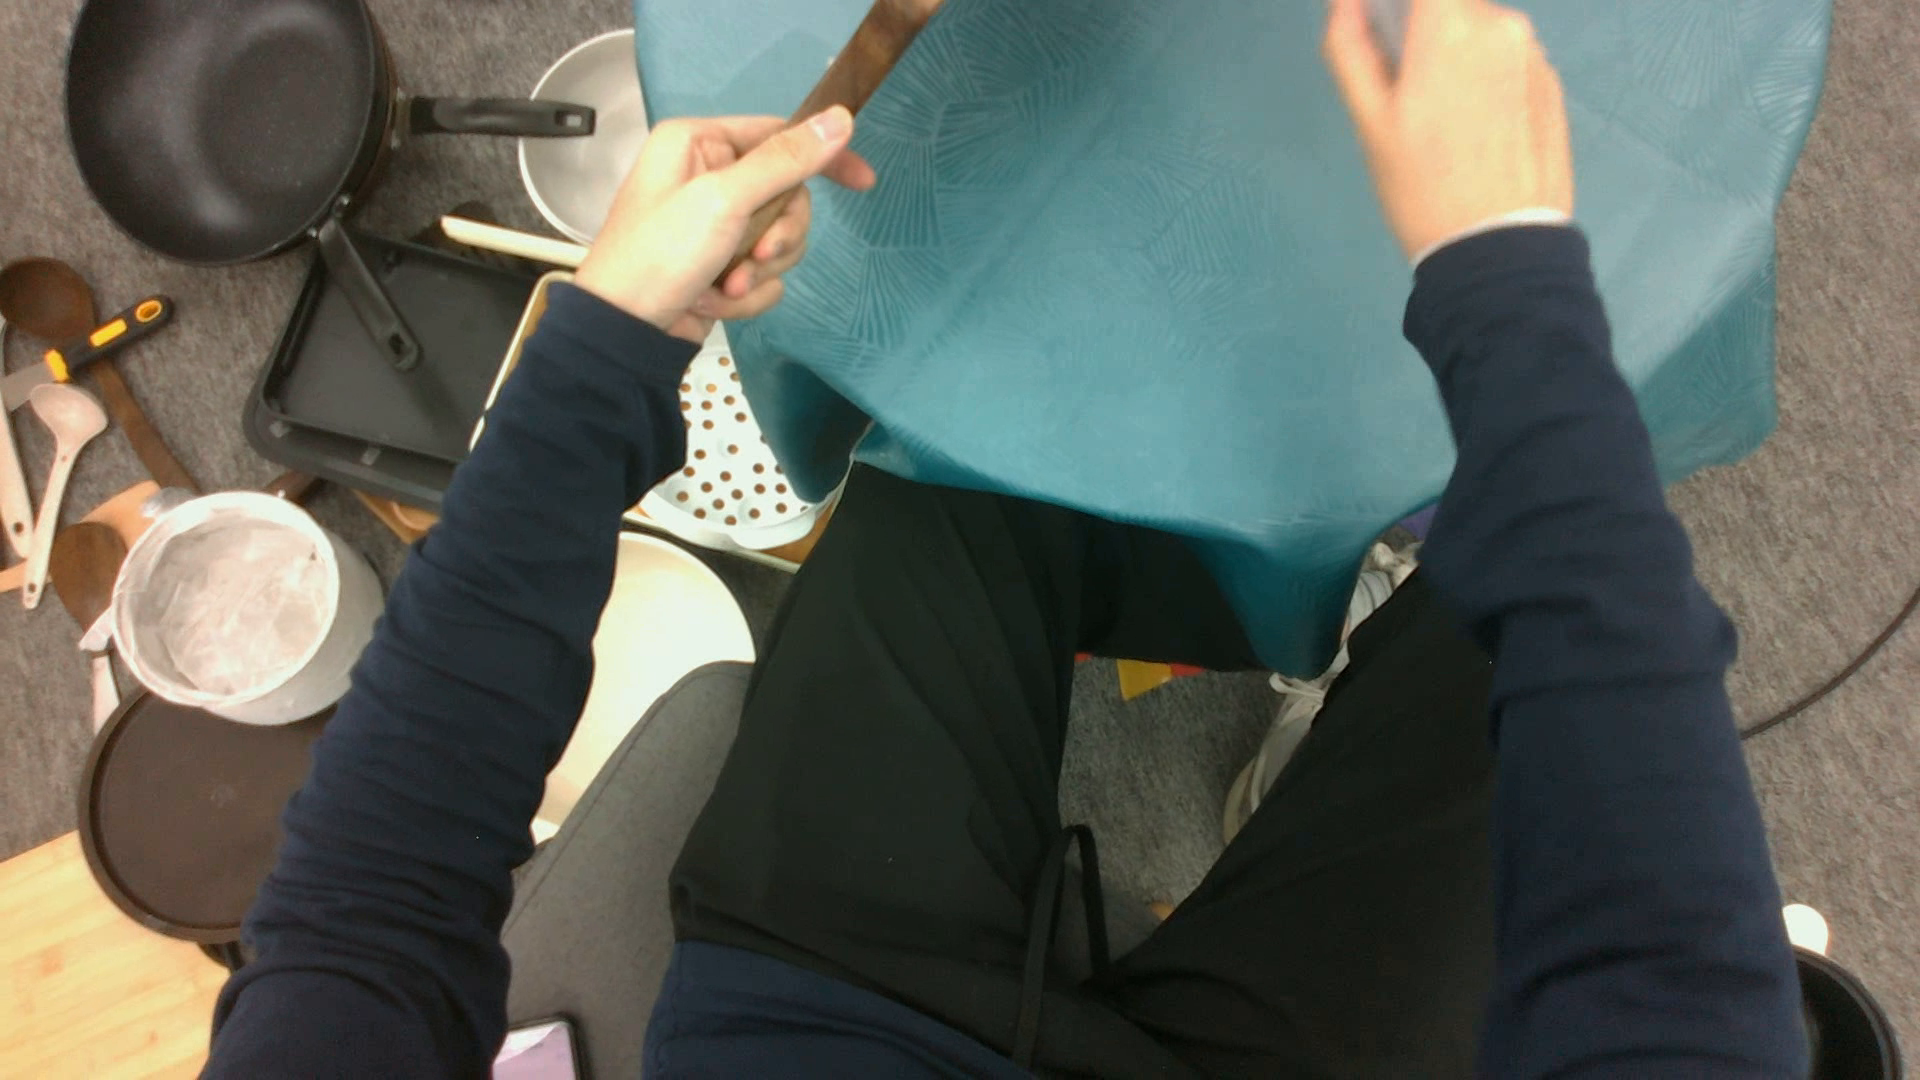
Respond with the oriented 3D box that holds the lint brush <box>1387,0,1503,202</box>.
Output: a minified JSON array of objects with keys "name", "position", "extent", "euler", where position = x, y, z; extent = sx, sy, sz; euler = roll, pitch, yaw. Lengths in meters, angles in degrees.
[{"name":"lint brush","position":[0.155,-0.279,0.525],"extent":[0.060,0.021,0.308],"euler":[-24,100,-25]}]

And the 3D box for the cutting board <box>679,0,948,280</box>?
[{"name":"cutting board","position":[-0.006,-0.252,0.587],"extent":[0.023,0.201,0.353],"euler":[38,81,-17]}]
